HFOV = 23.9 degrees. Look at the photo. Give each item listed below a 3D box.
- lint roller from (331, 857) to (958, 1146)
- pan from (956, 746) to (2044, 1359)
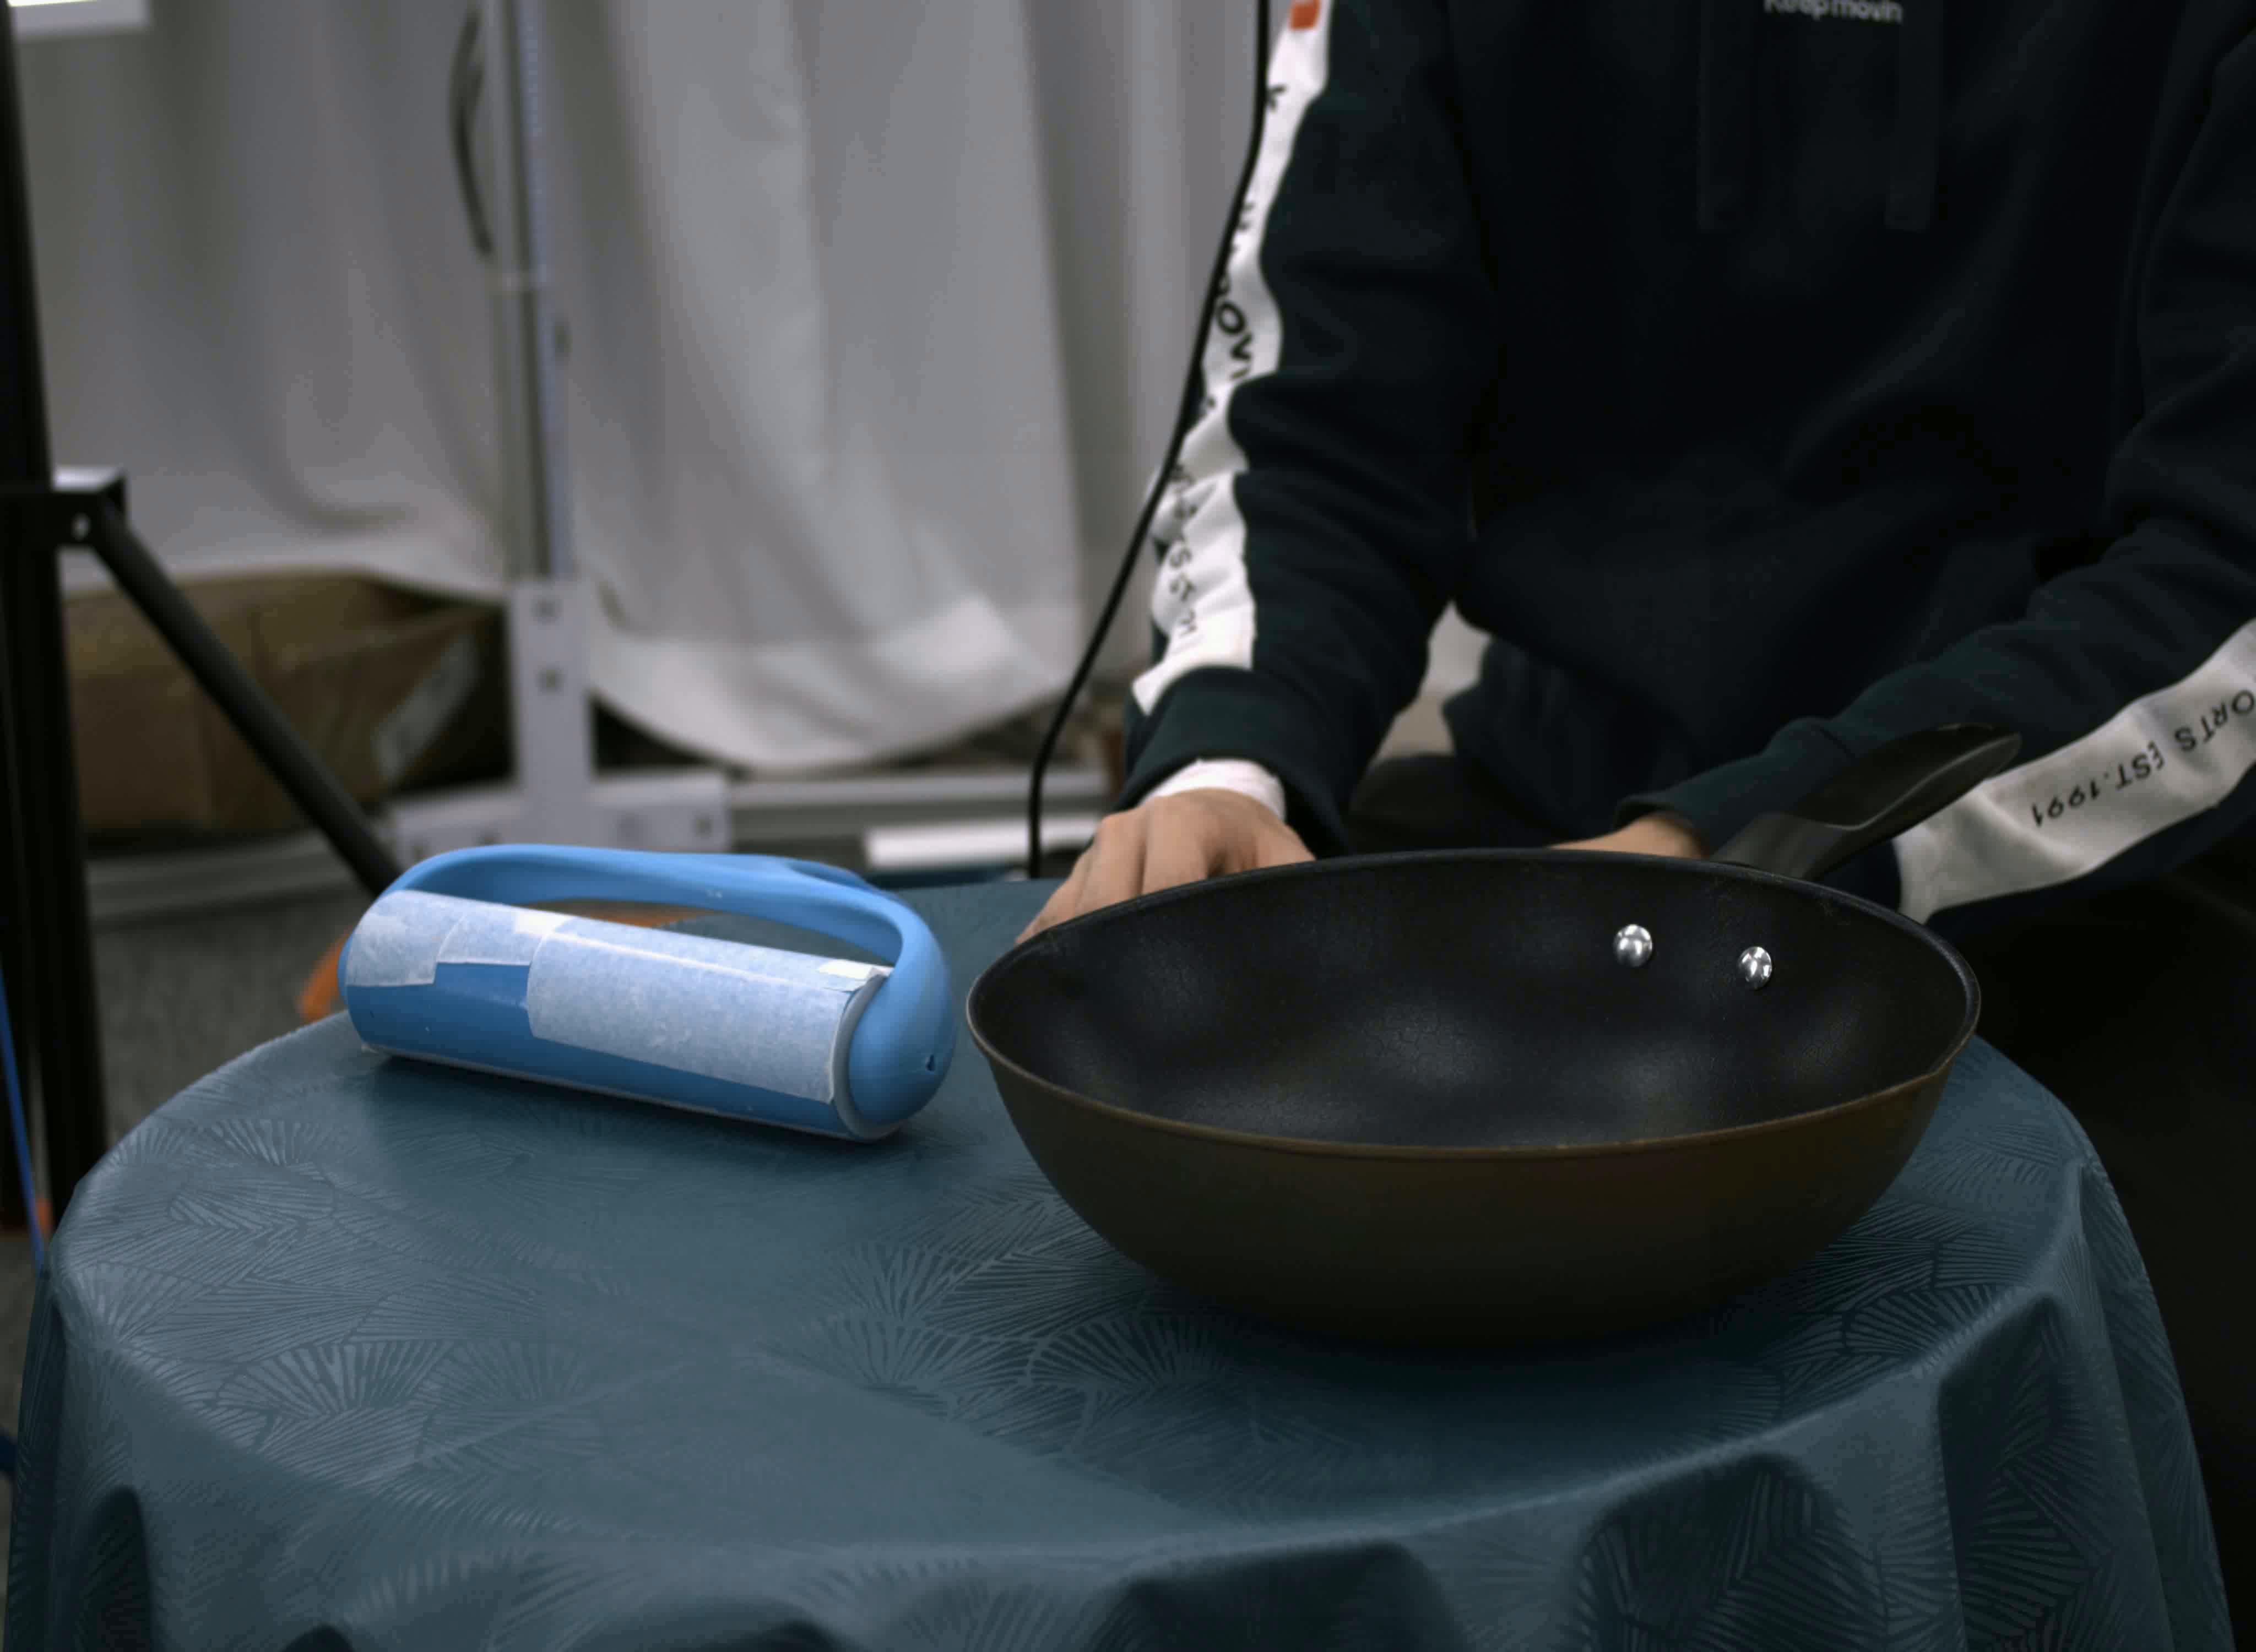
[{"bbox_3d":[-0.125,0.043,1.706,0.233,0.068,0.177,5,18,31],"label":"lint roller"},{"bbox_3d":[0.146,0.062,1.547,0.294,0.087,0.454,9,19,35],"label":"pan"}]
